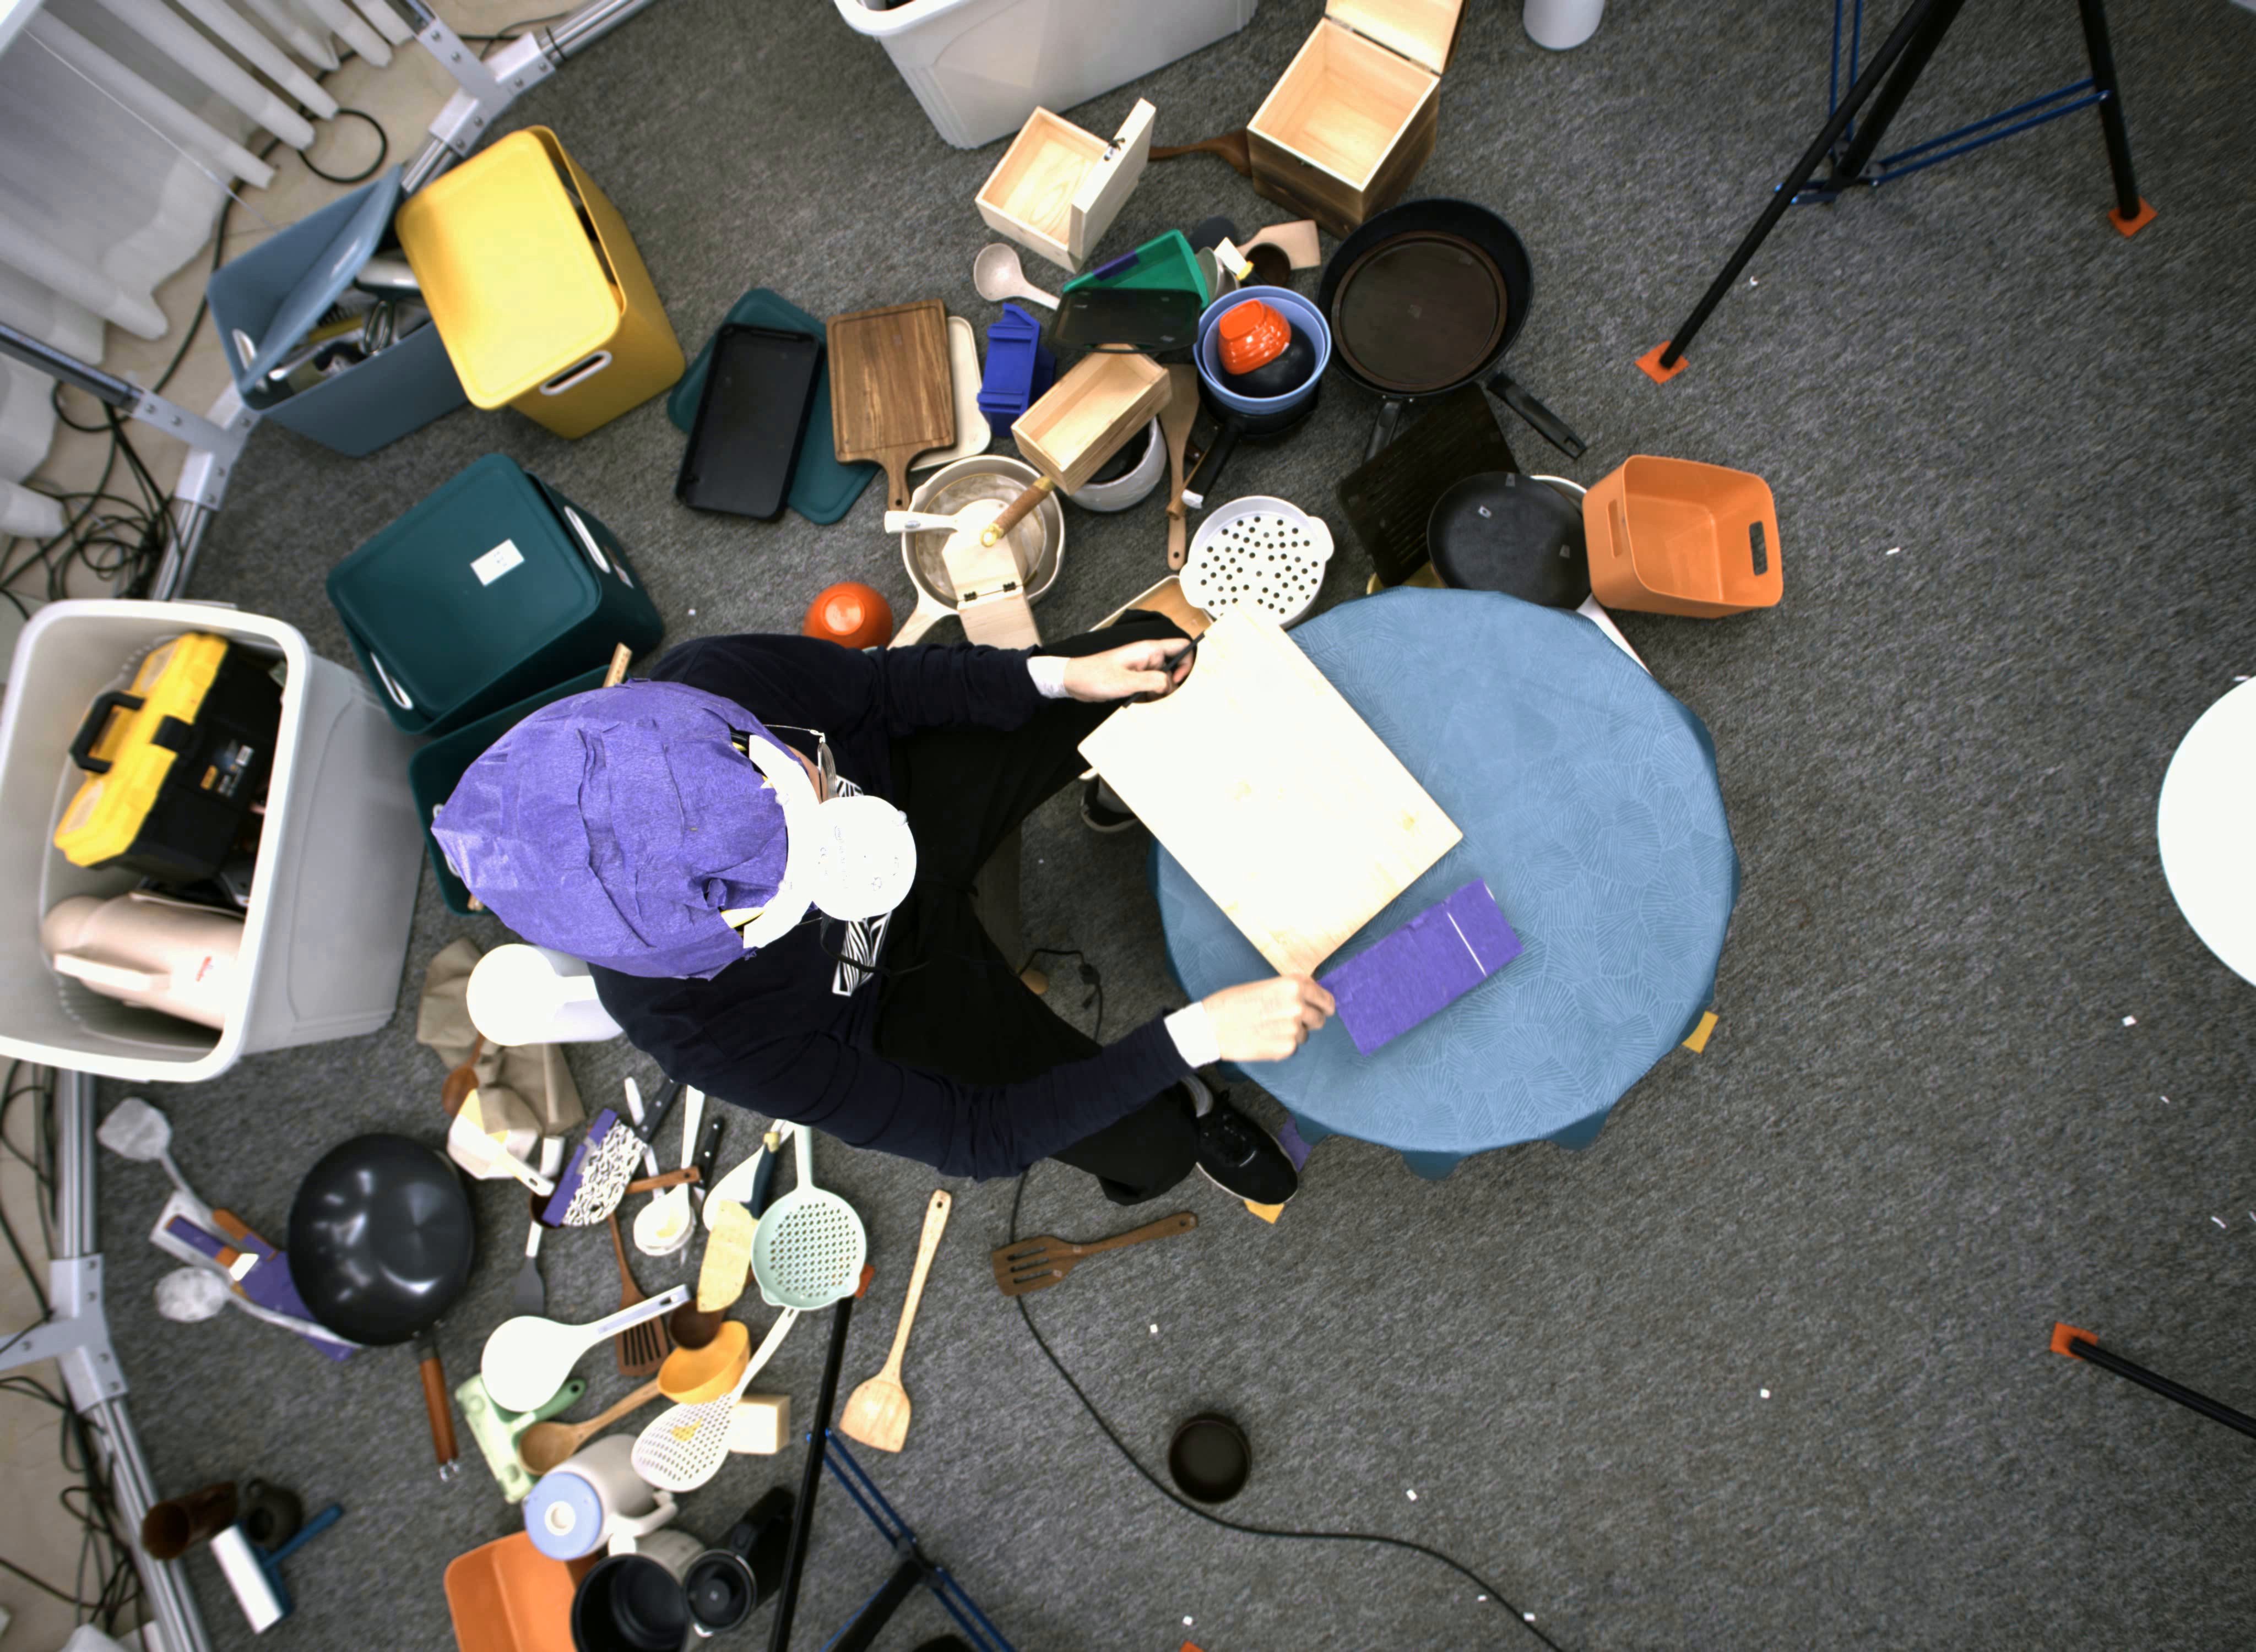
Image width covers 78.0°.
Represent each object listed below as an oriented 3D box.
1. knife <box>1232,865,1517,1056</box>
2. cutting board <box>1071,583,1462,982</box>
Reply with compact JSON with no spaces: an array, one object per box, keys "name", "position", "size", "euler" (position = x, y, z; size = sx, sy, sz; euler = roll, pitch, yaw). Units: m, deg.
[{"name":"knife","position":[0.254,0.158,1.376],"size":[0.313,0.032,0.104],"euler":[-31,90,-10]},{"name":"cutting board","position":[0.144,-0.041,1.437],"size":[0.252,0.023,0.349],"euler":[-43,95,6]}]
